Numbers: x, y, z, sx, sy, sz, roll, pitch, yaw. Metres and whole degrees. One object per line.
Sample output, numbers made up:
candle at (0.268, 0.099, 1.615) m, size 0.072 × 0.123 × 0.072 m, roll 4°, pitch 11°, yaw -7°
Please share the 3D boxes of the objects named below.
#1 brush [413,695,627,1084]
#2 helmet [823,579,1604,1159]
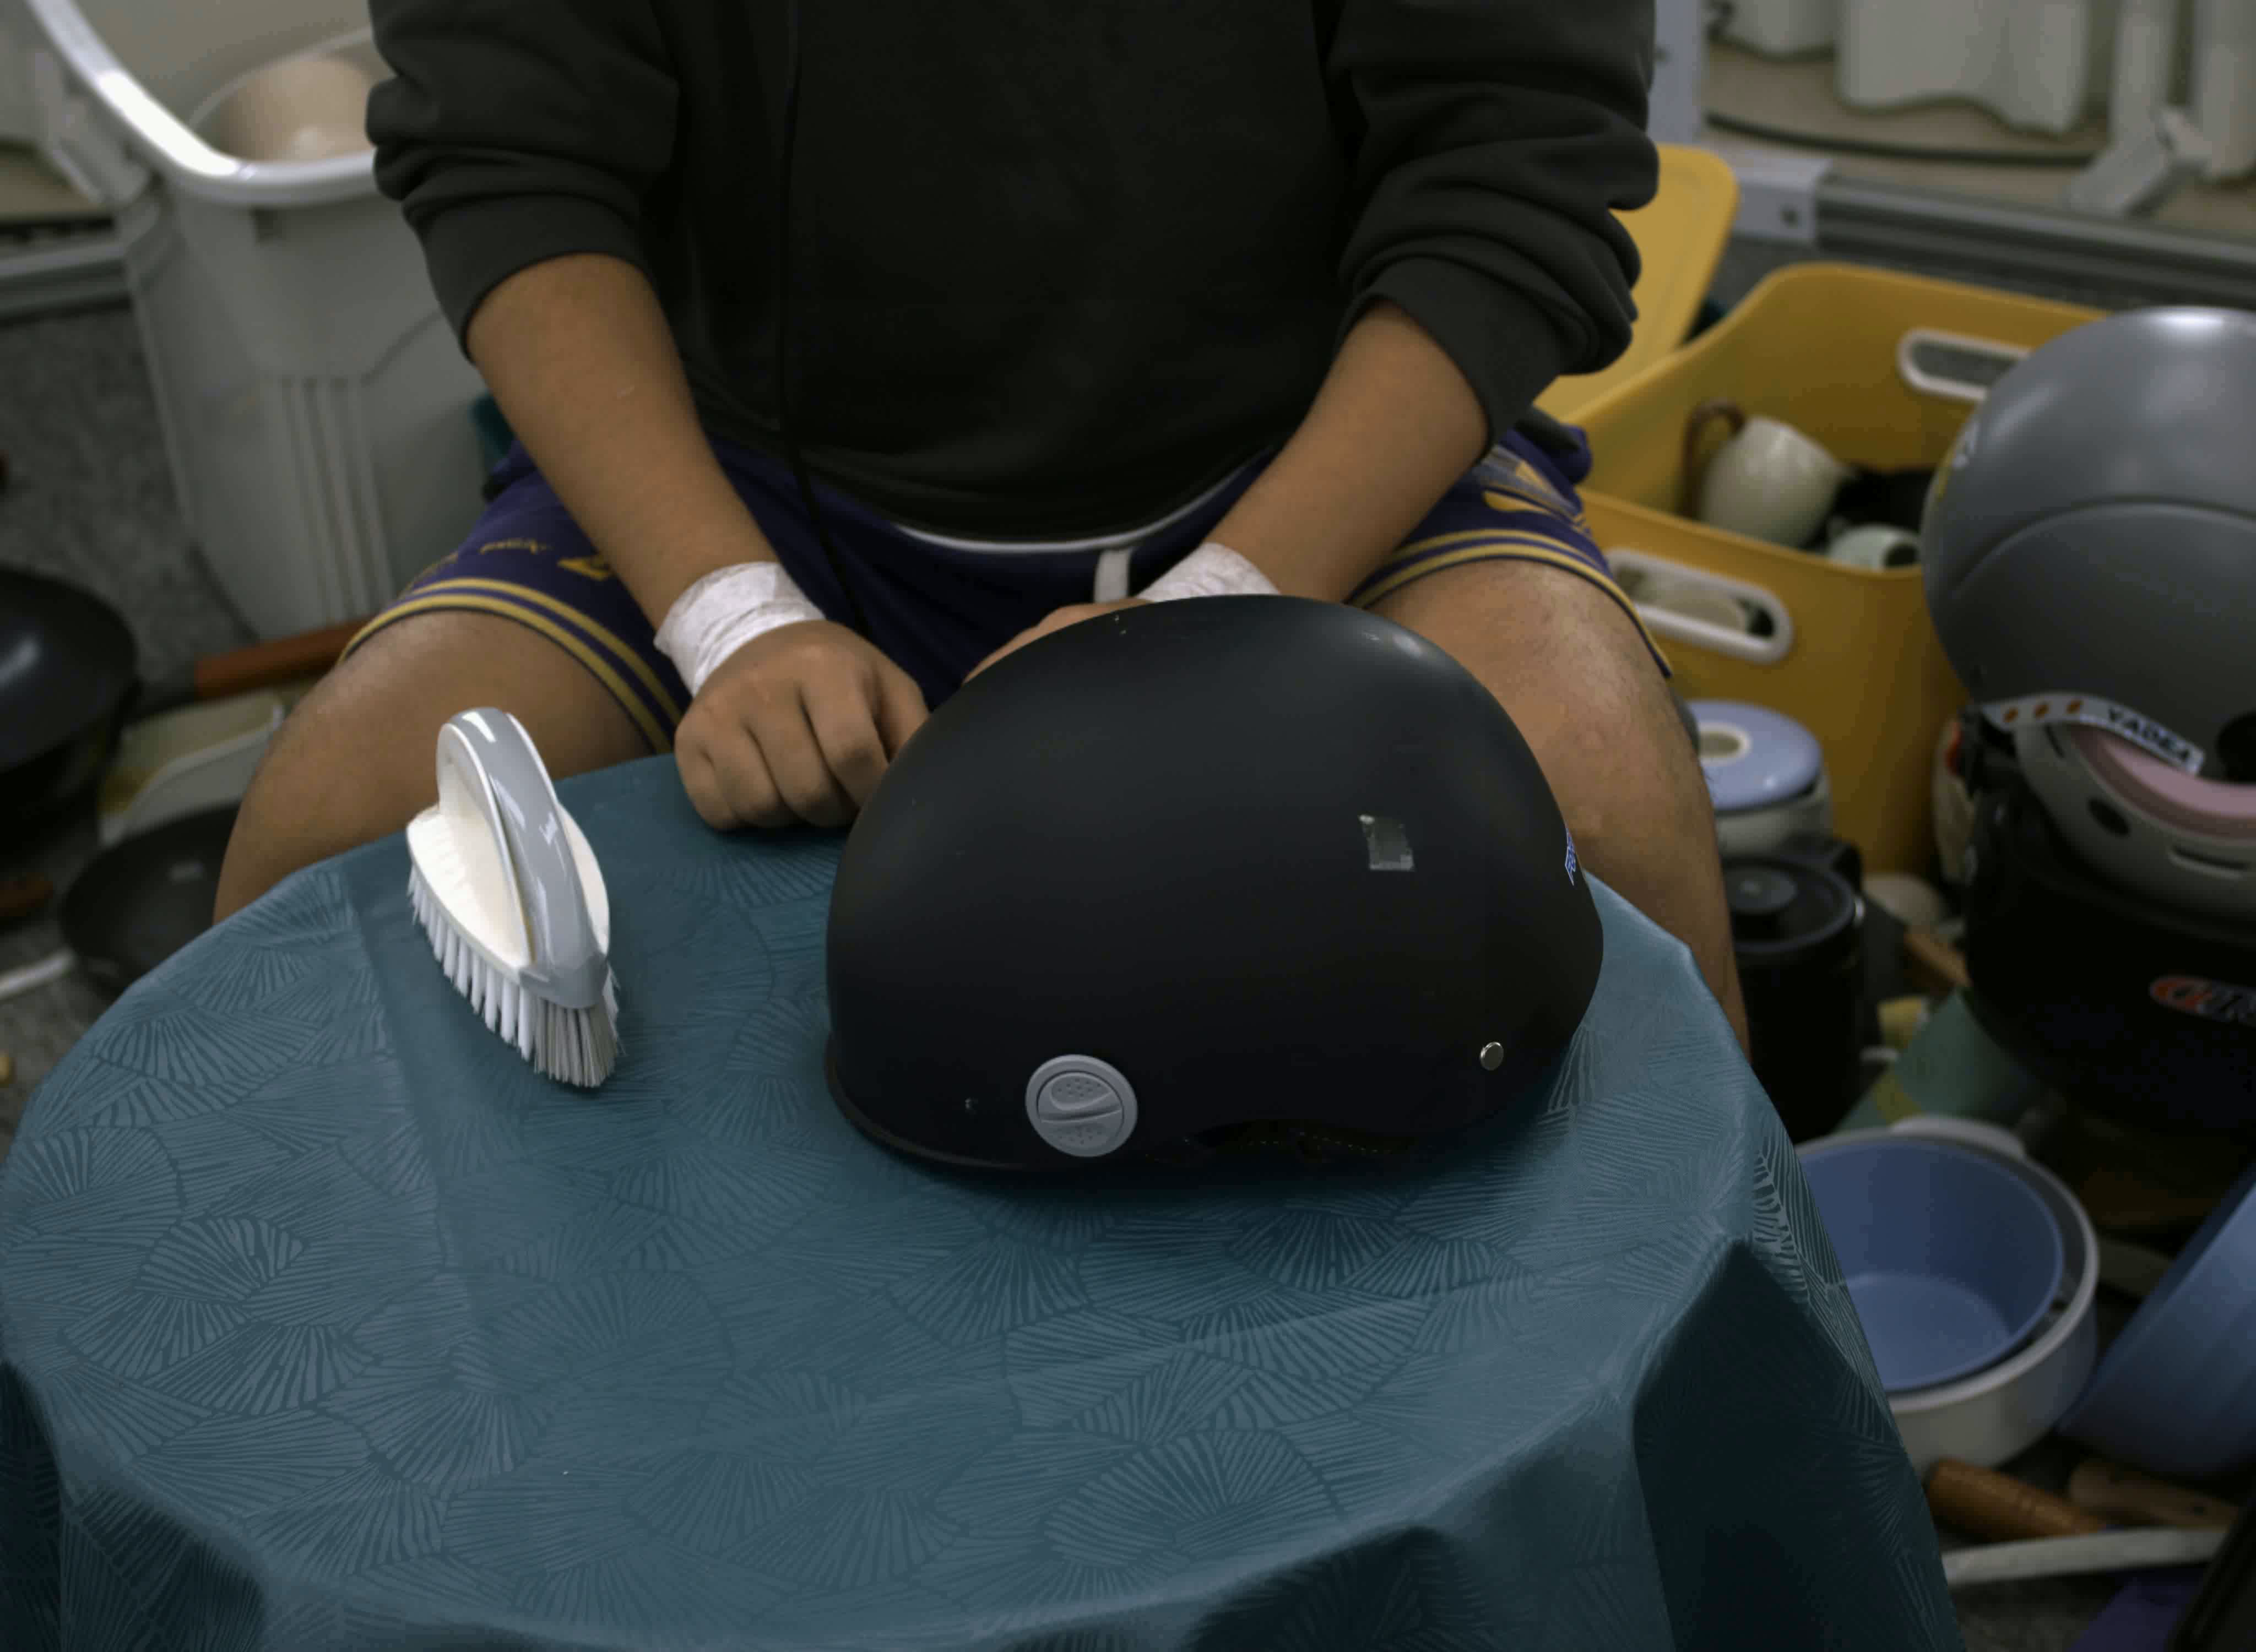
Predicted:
brush at (-0.212, 0.016, 1.990) m, size 0.061 × 0.093 × 0.177 m, roll -12°, pitch 30°, yaw -14°
helmet at (0.024, 0.005, 1.915) m, size 0.271 × 0.165 × 0.233 m, roll -3°, pitch 26°, yaw 5°
